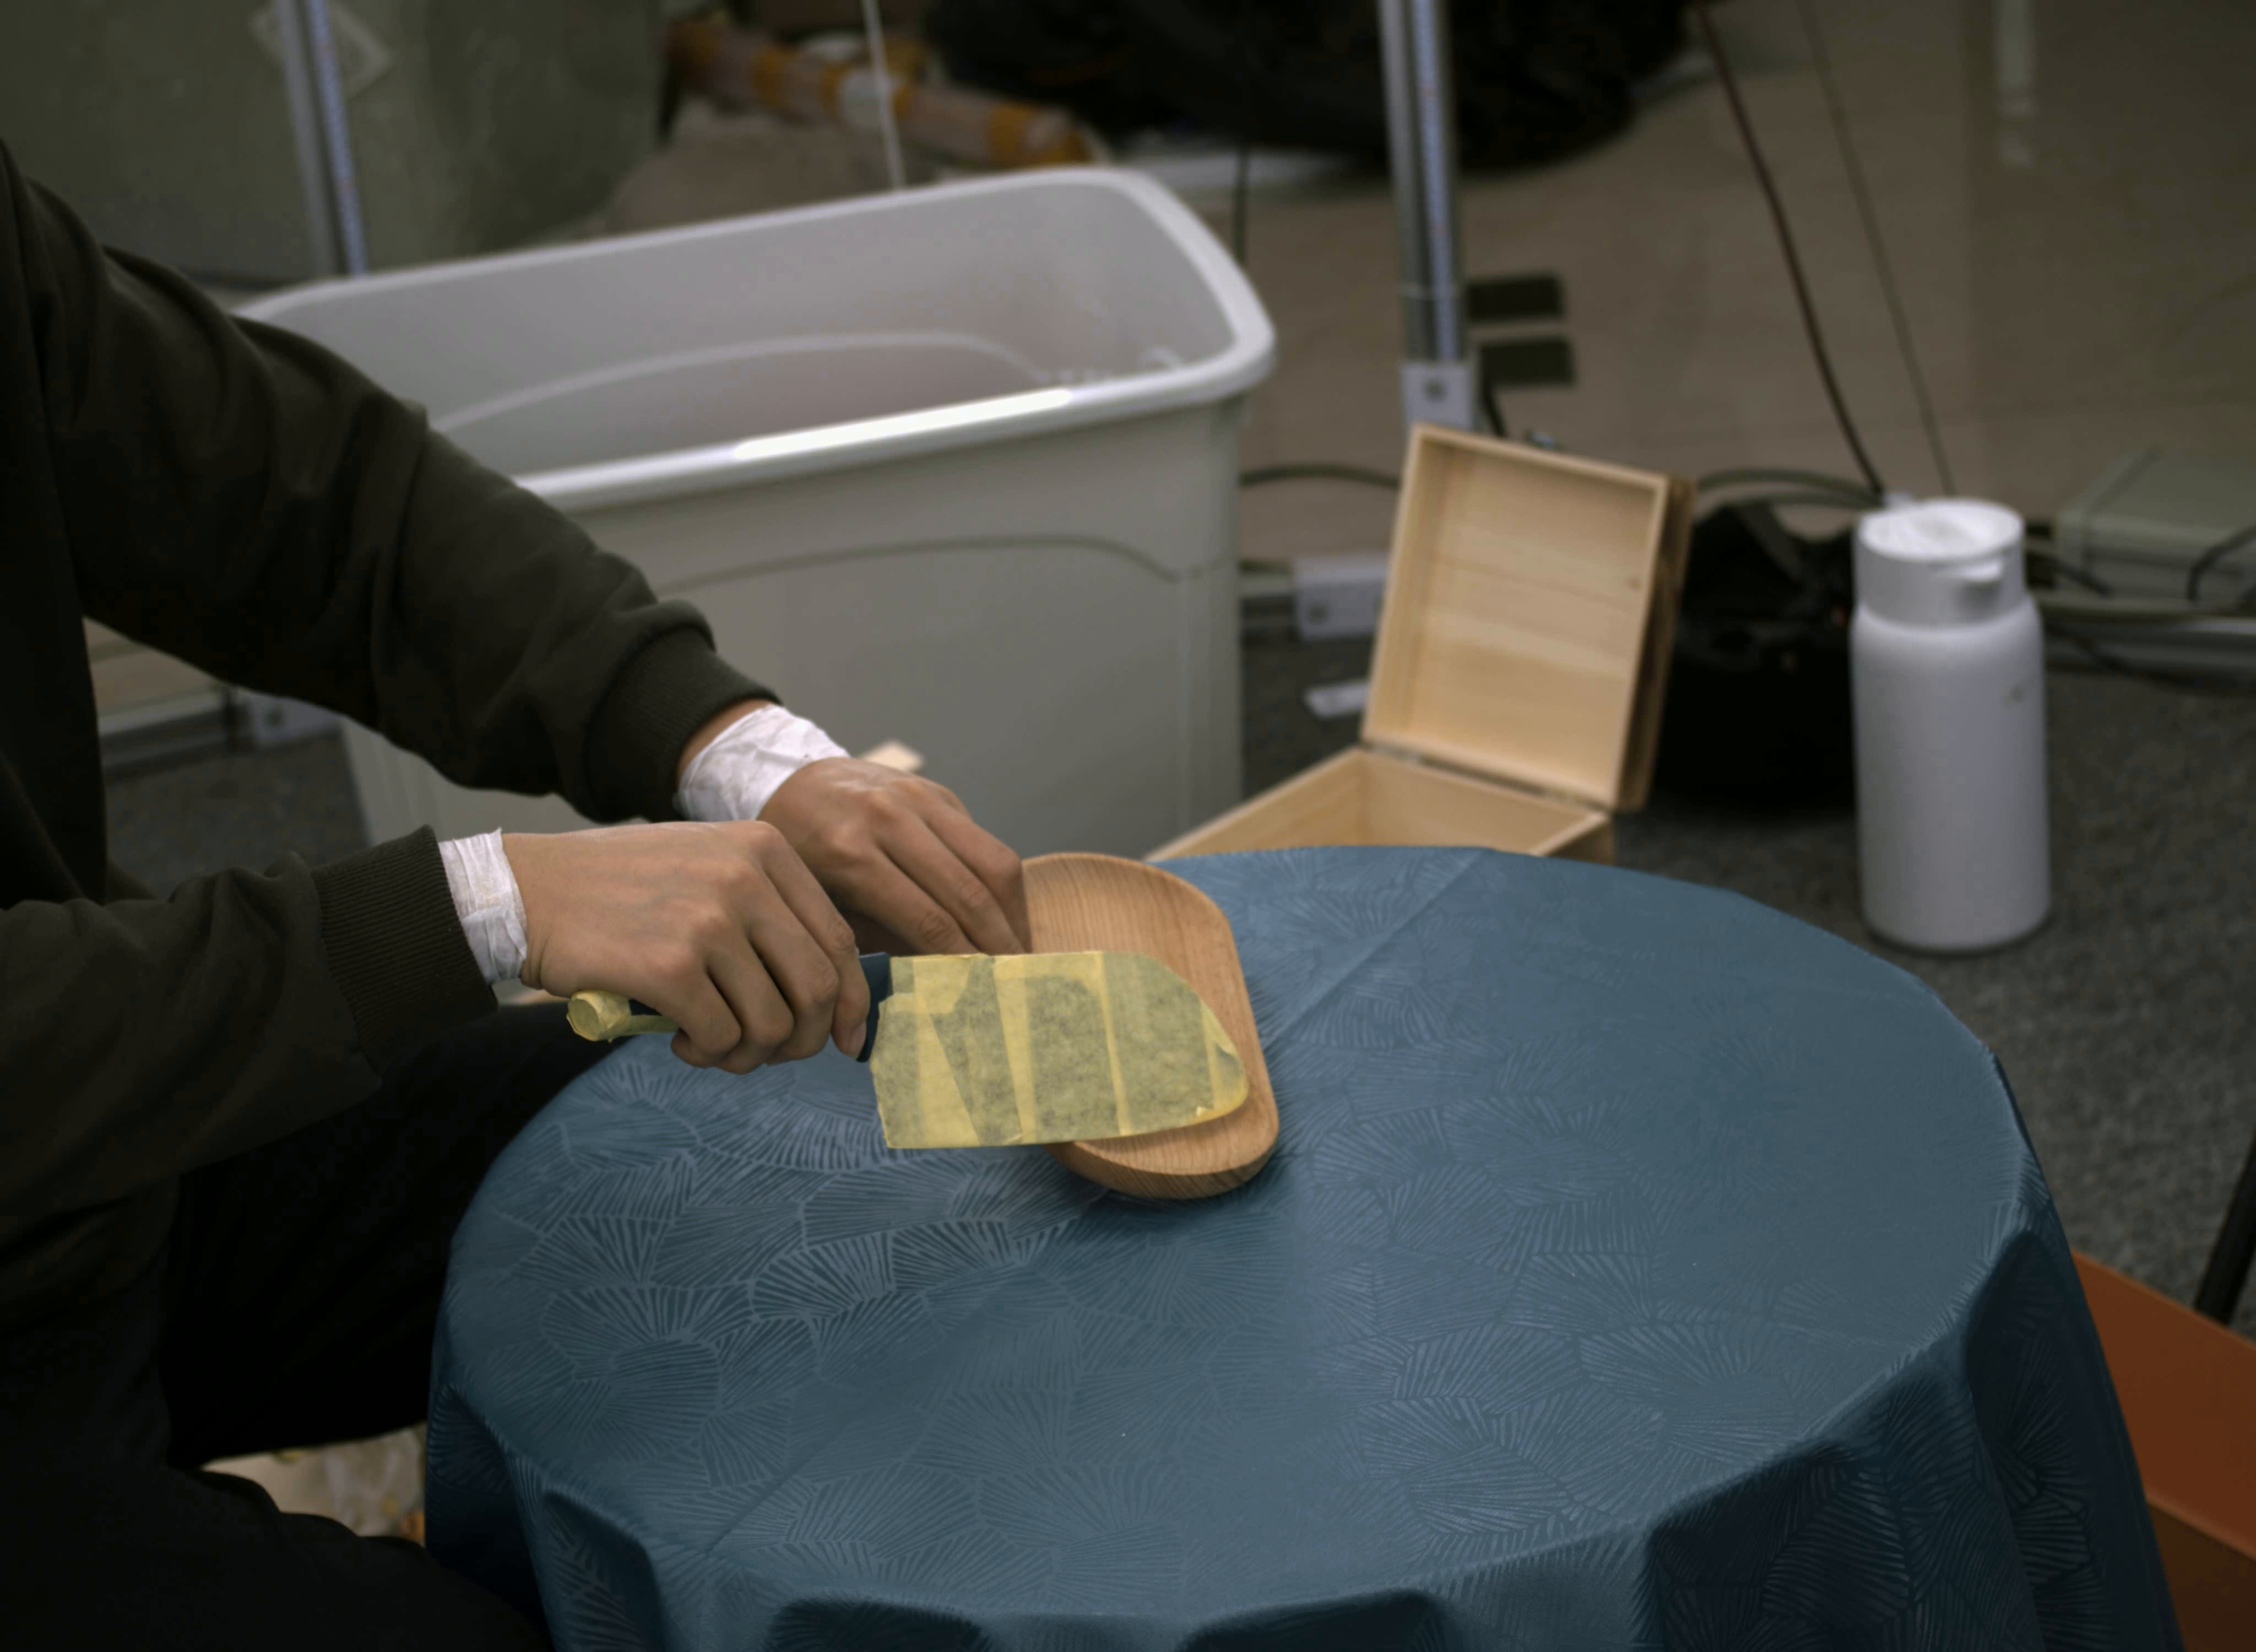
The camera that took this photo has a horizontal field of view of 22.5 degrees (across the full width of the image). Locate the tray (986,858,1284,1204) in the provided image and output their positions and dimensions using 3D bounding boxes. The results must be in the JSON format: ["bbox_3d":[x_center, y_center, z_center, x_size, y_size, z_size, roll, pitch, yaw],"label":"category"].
[{"bbox_3d":[0.001,0.078,2.215,0.101,0.020,0.227,5,32,-11],"label":"tray"}]

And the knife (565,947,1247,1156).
[{"bbox_3d":[-0.076,0.083,2.096,0.289,0.080,0.027,1,-17,-32],"label":"knife"}]
